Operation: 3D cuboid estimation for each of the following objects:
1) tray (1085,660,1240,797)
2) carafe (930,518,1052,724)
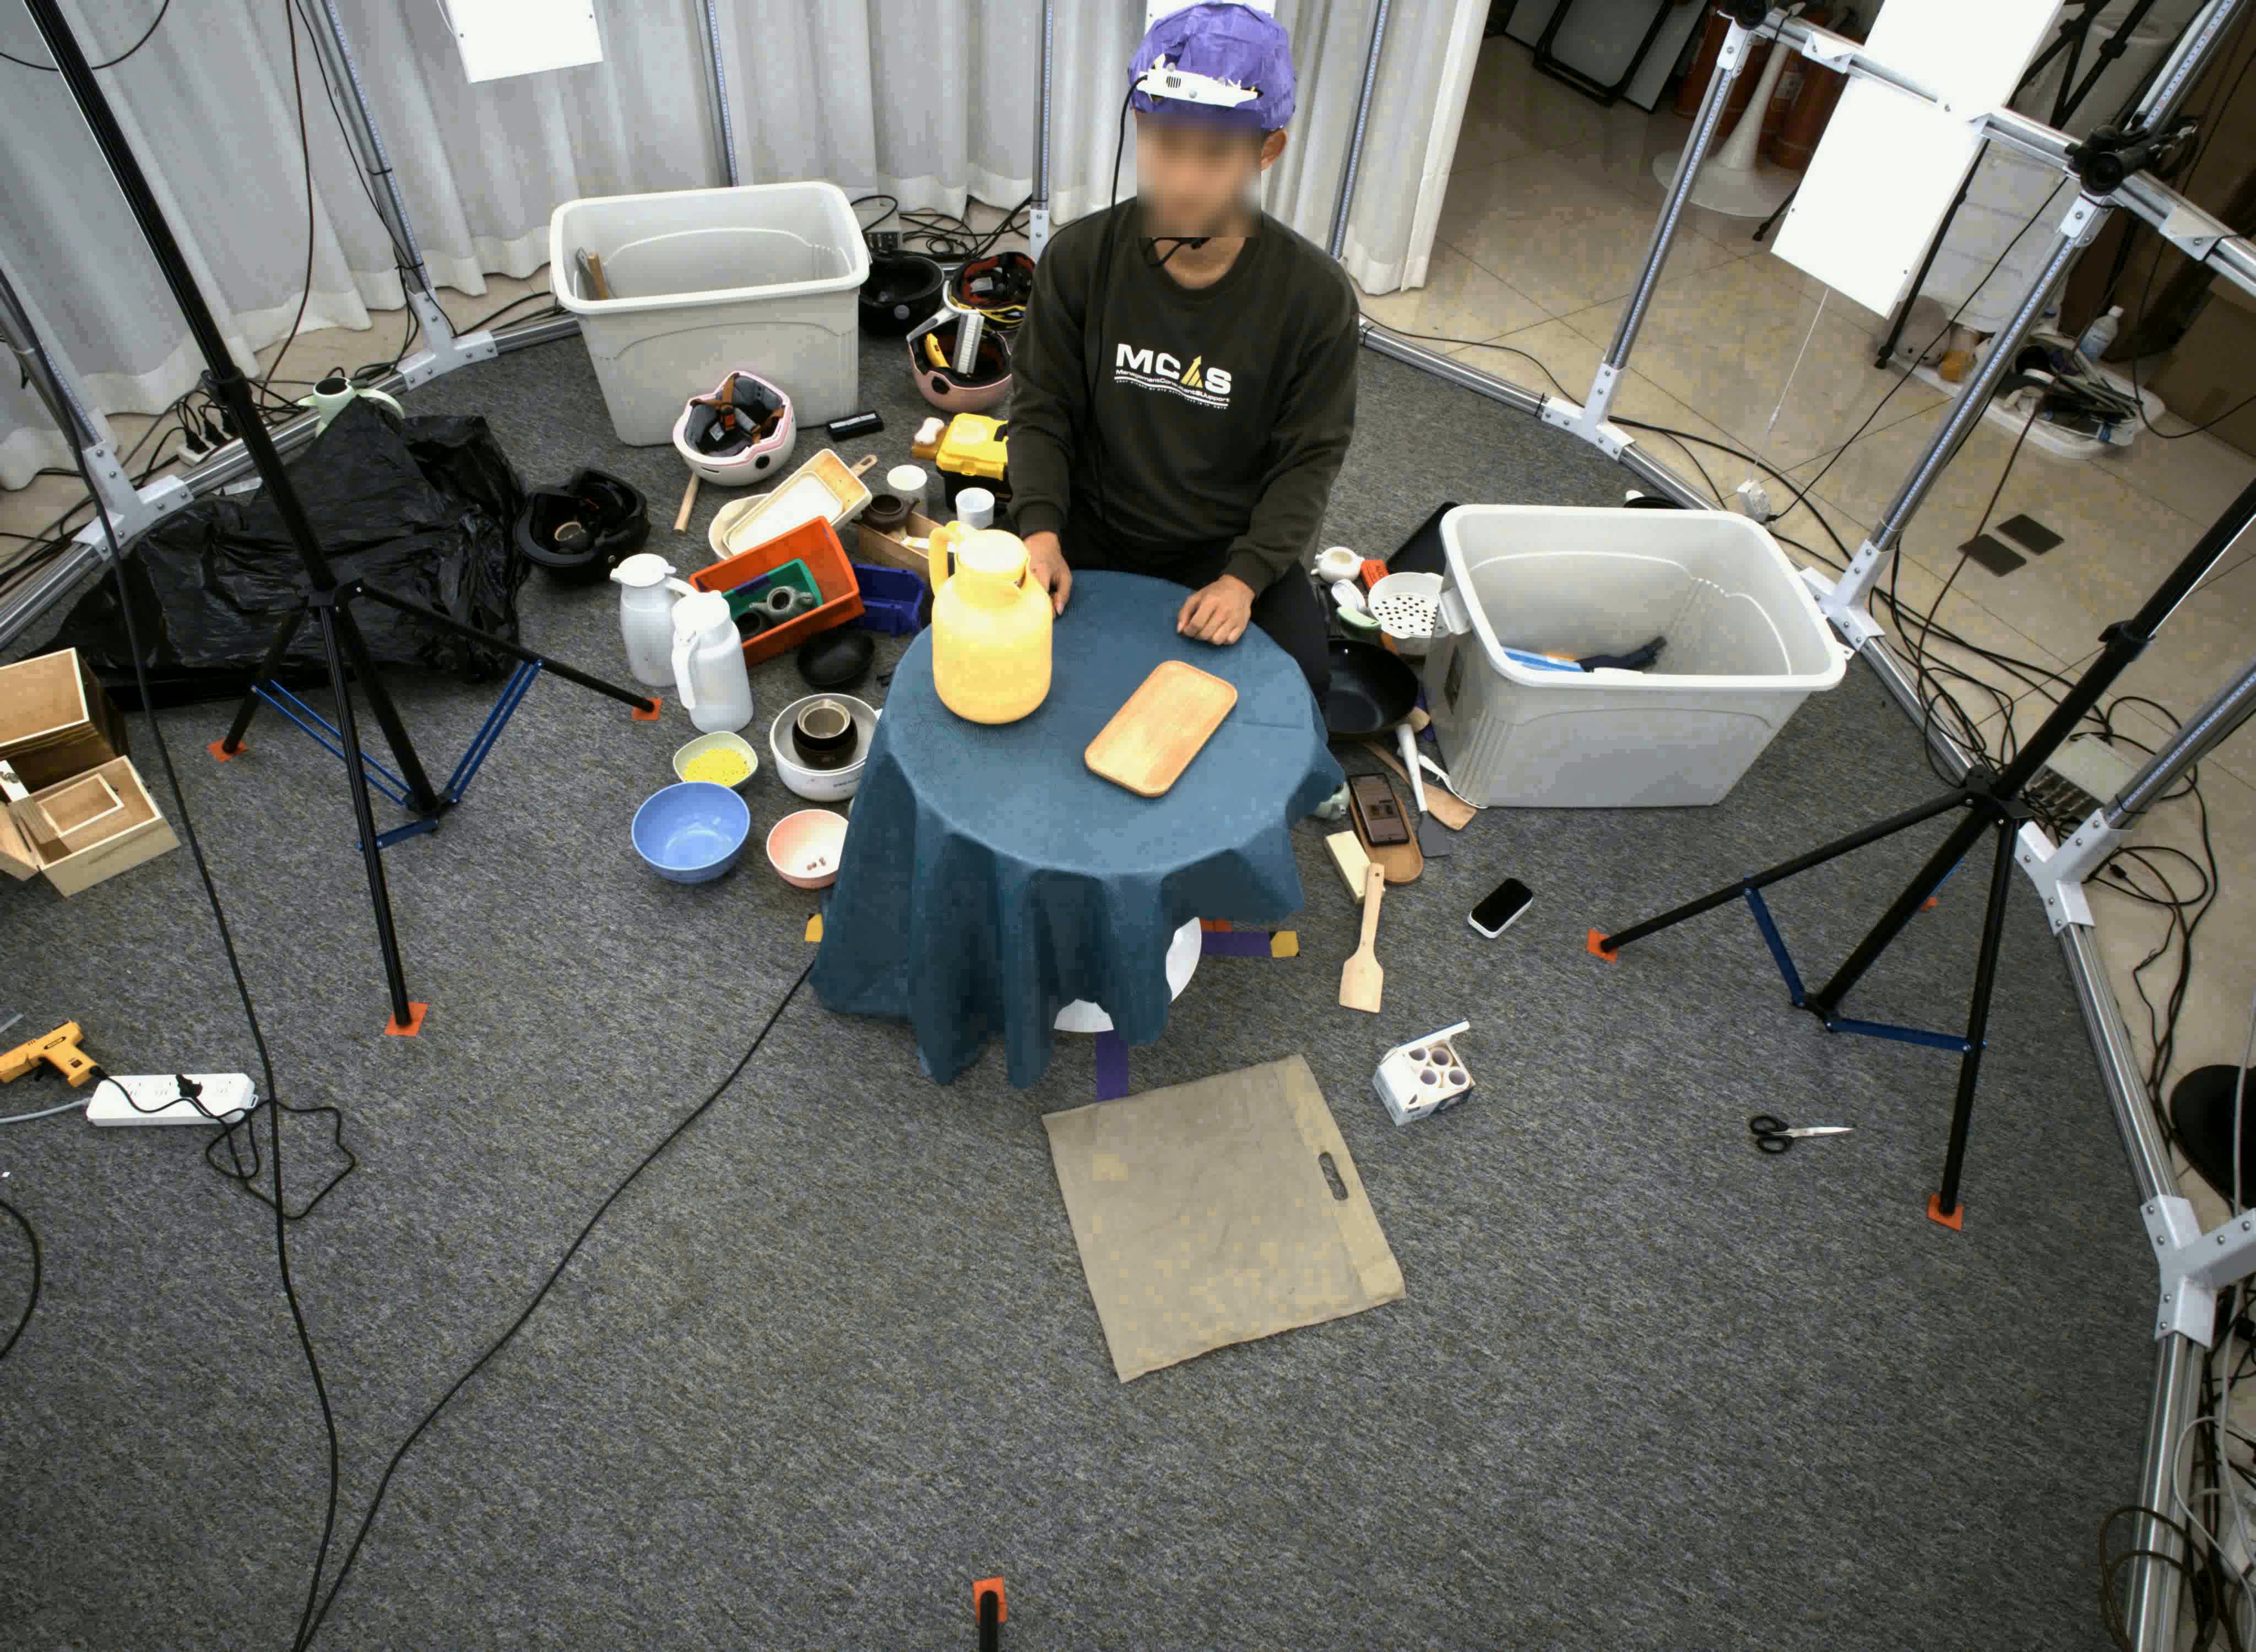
[{"bbox_3d":[0.050,-0.138,1.777,0.131,0.022,0.254,28,52,16],"label":"tray"},{"bbox_3d":[-0.194,-0.284,1.728,0.164,0.254,0.206,-29,58,-30],"label":"carafe"}]
